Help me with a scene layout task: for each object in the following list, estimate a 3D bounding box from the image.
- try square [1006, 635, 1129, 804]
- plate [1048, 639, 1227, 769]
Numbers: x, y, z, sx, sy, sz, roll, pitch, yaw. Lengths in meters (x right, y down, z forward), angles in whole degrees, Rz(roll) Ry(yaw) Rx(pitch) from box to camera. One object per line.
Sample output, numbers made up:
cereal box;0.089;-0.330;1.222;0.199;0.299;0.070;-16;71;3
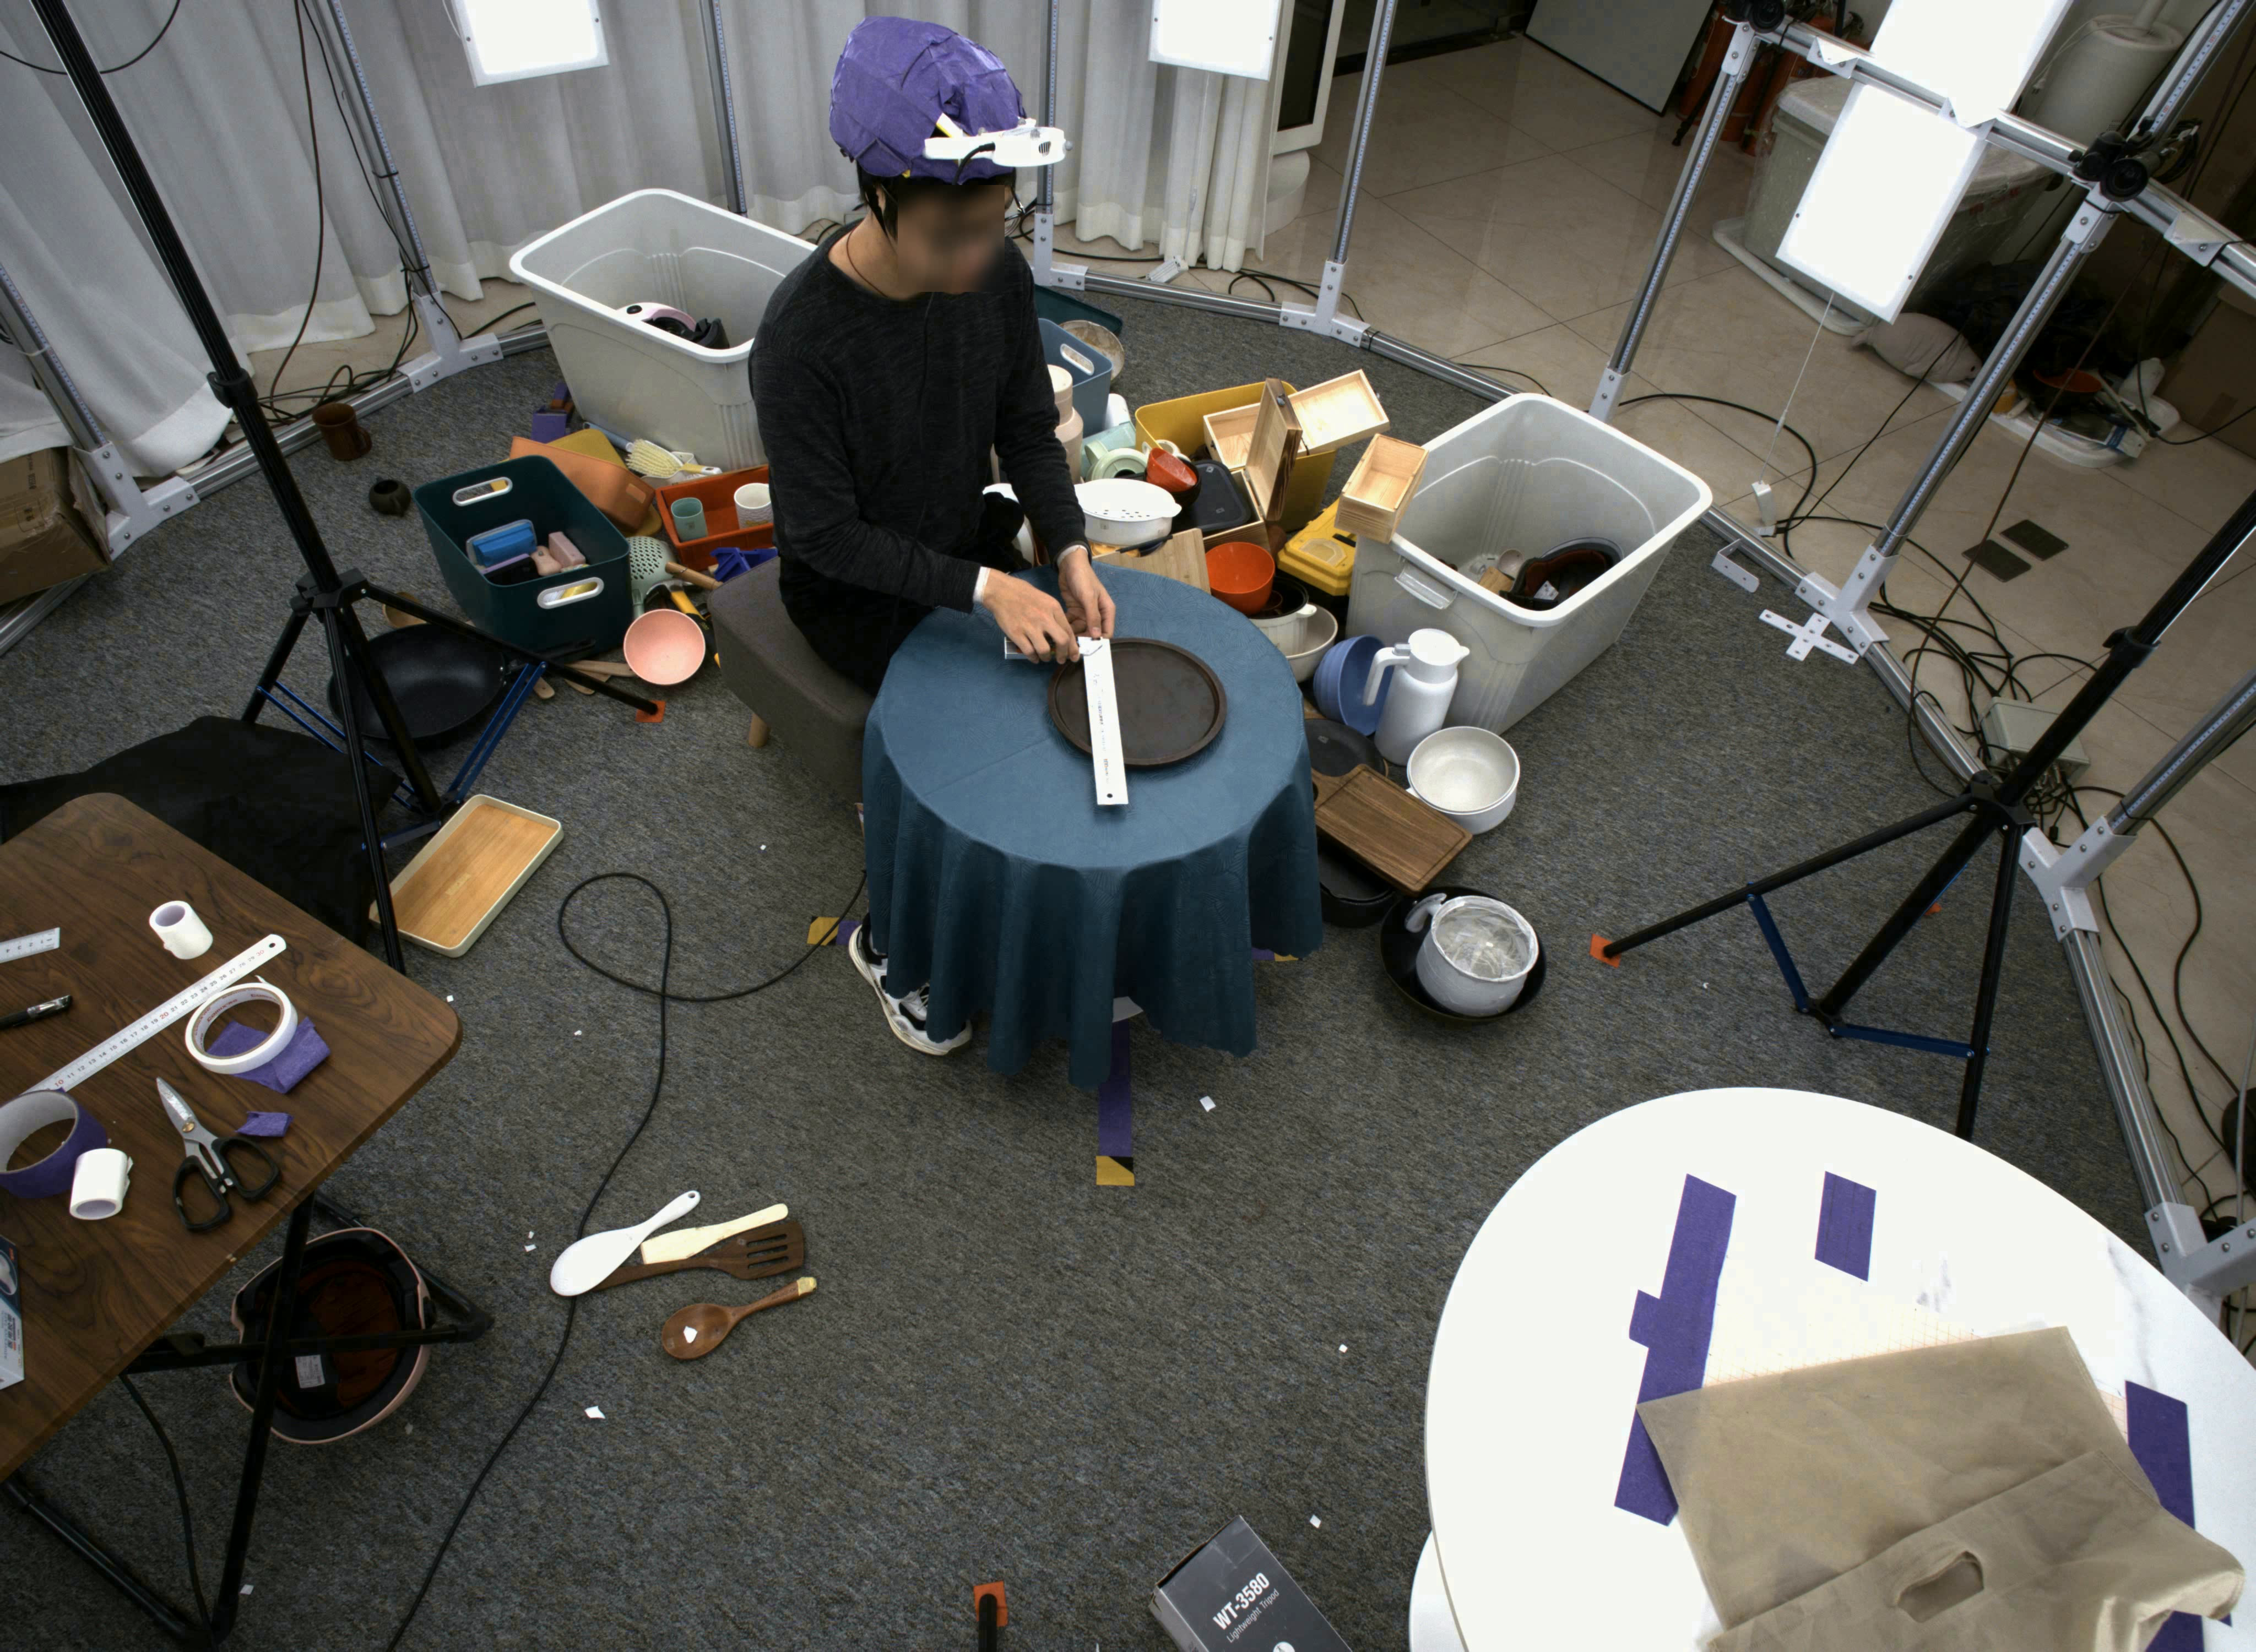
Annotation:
try square;-0.087;-0.151;1.762;0.152;0.015;0.321;-2;50;-6
plate;0.013;-0.174;1.807;0.254;0.028;0.261;2;49;-3
